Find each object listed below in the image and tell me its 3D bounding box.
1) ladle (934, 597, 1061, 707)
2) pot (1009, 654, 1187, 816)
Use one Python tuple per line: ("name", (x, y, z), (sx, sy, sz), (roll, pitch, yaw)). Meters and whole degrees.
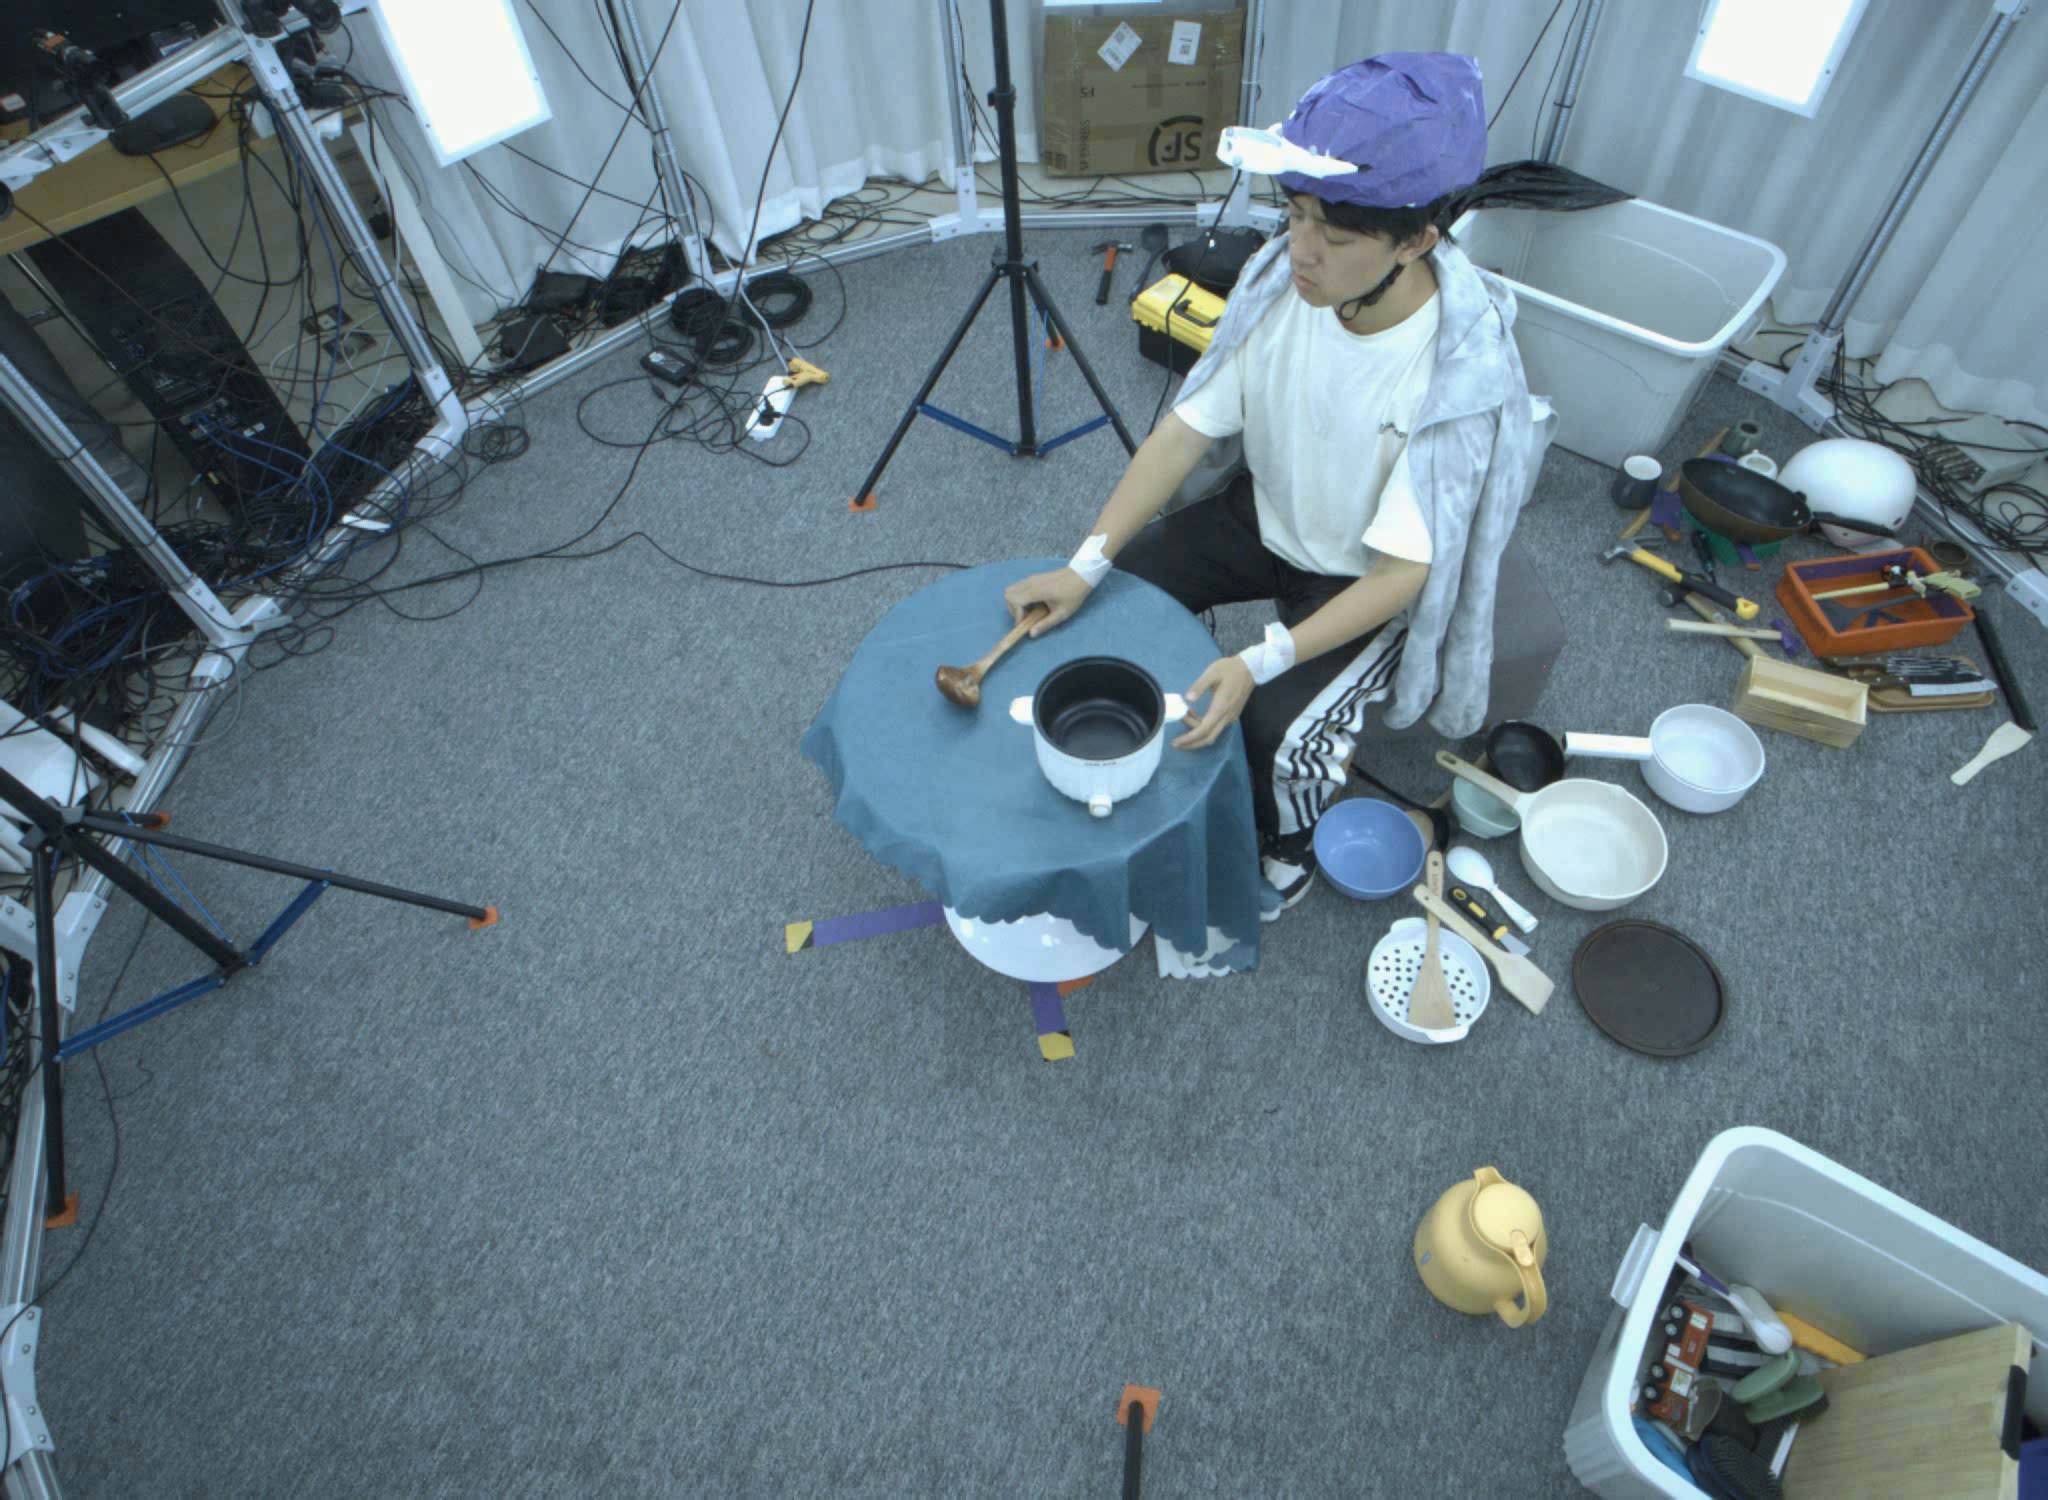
("ladle", (-0.031, -0.162, 1.859), (0.276, 0.076, 0.082), (-43, 95, -25))
("pot", (0.104, -0.018, 1.713), (0.240, 0.144, 0.188), (-2, 51, 2))
